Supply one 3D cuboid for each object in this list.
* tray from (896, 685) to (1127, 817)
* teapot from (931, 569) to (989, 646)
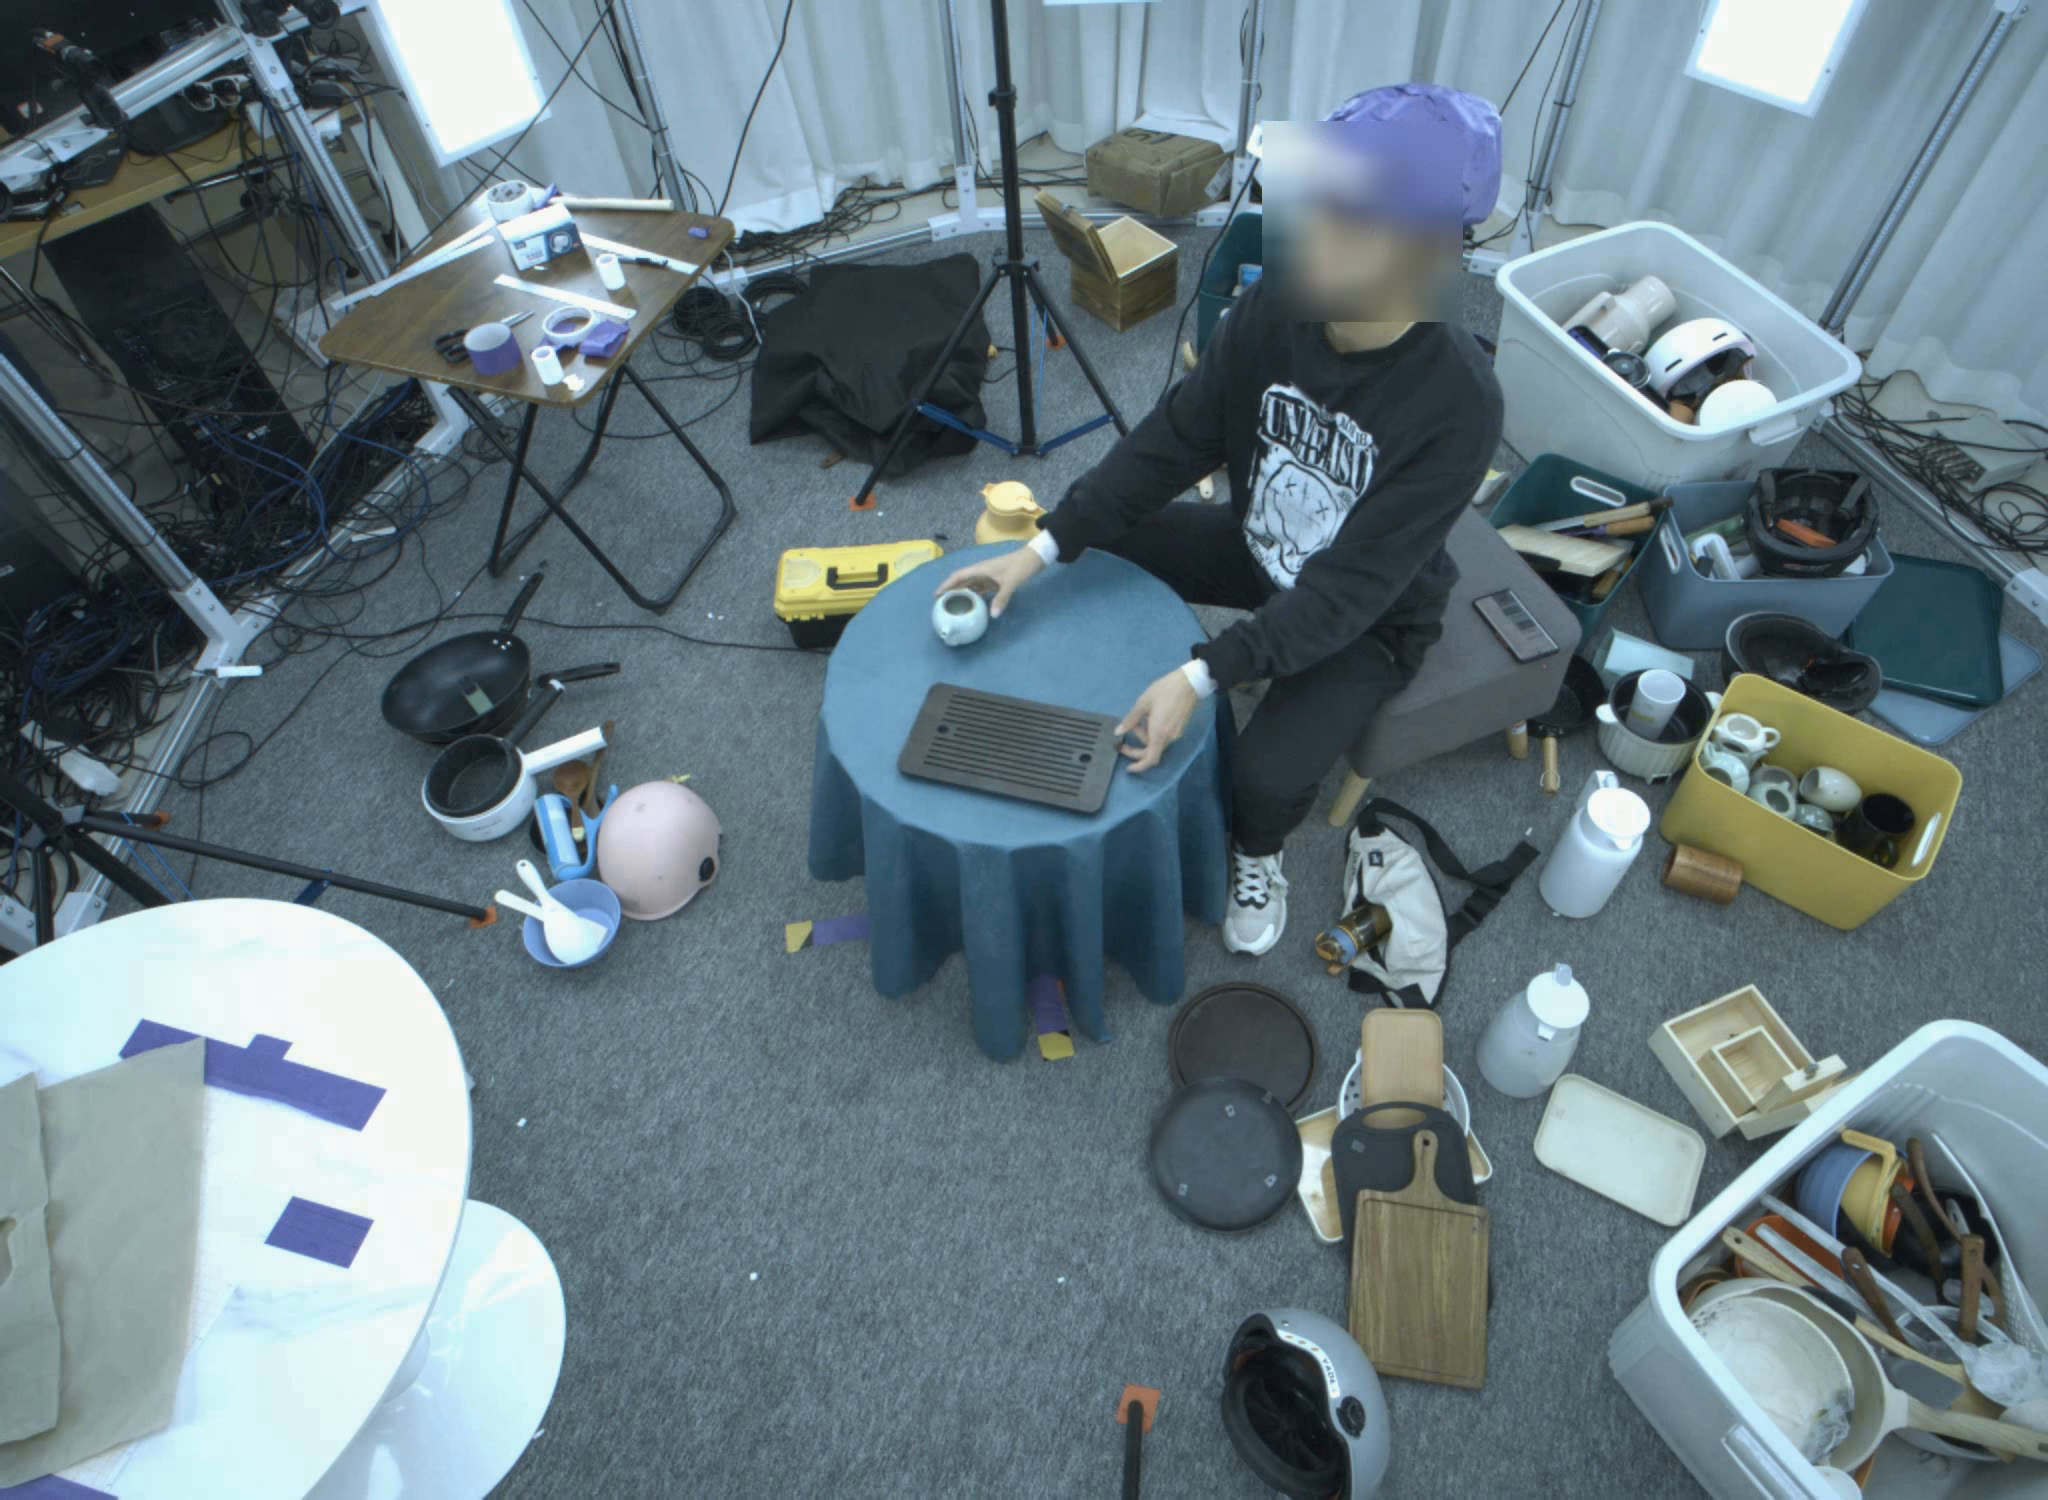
[{"bbox_3d":[-0.017,0.000,1.772,0.303,0.019,0.169,12,56,10],"label":"tray"},{"bbox_3d":[-0.099,-0.206,1.889,0.087,0.075,0.143,13,57,12],"label":"teapot"}]
